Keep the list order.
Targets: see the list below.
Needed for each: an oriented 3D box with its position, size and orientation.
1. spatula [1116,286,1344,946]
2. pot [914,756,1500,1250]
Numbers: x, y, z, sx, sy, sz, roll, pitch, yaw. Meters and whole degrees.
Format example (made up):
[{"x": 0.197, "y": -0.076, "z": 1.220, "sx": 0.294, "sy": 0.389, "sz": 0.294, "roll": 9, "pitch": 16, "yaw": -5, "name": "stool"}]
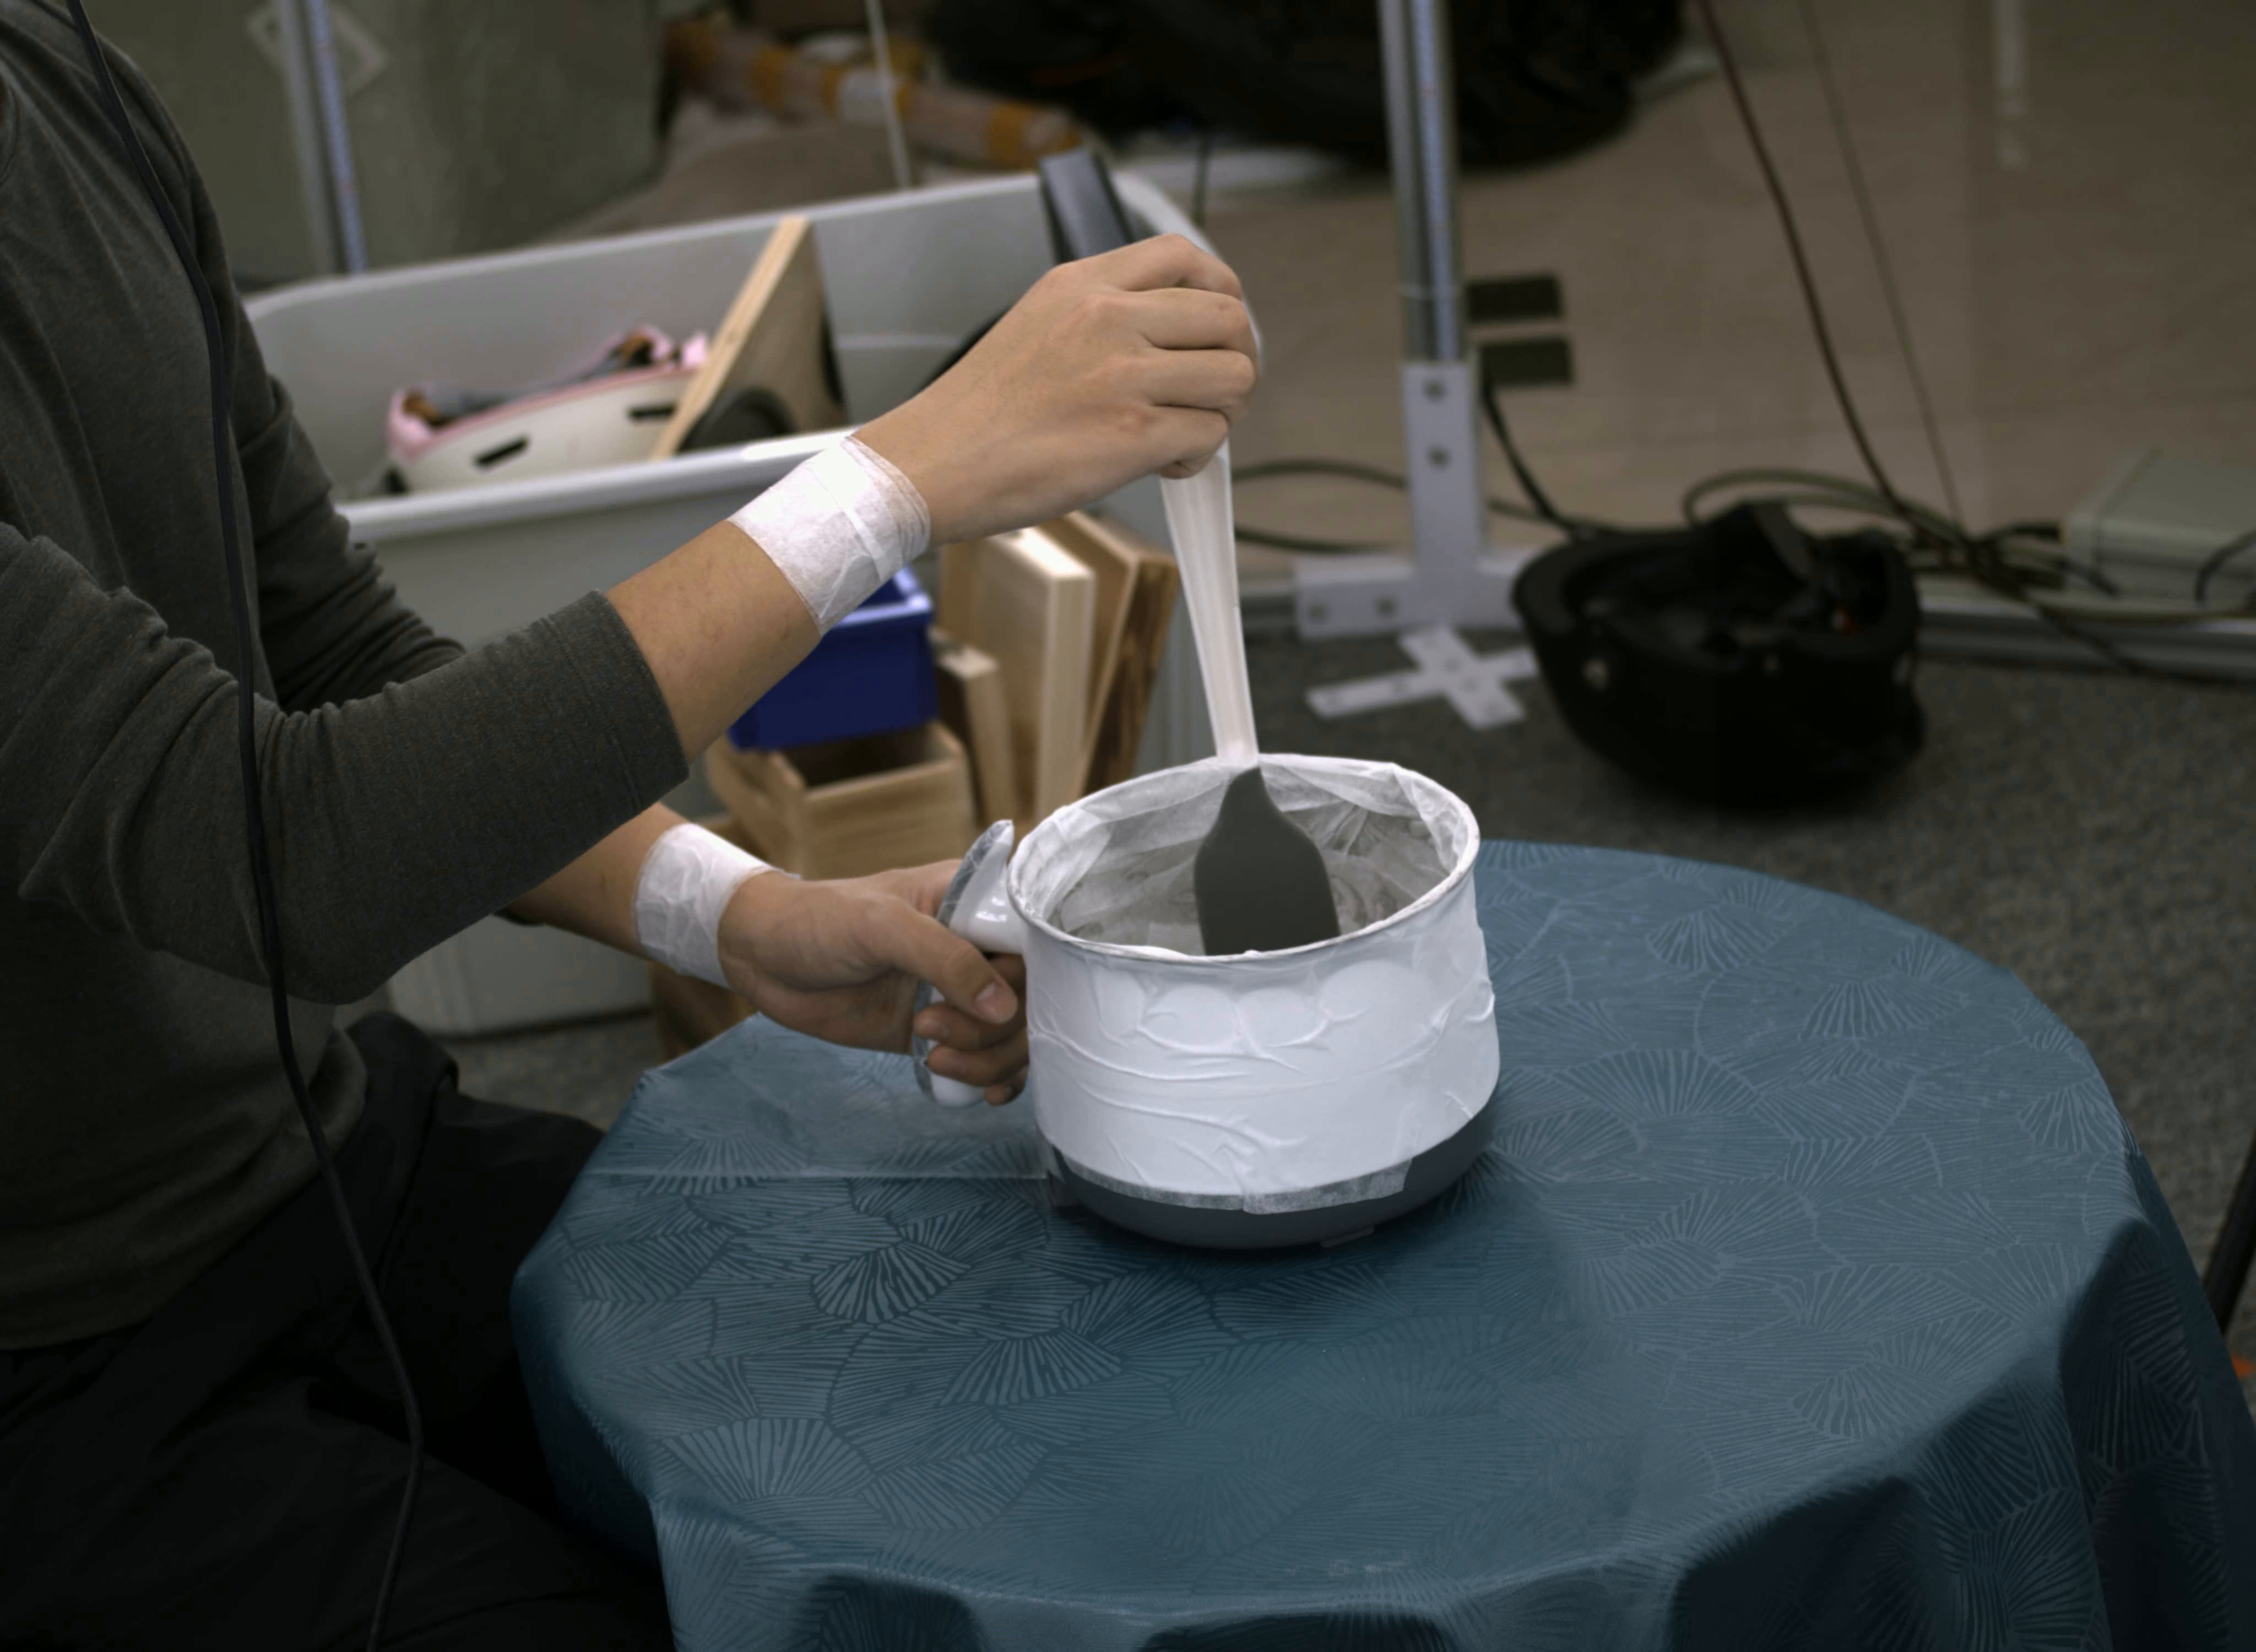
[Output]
[{"x": 0.035, "y": -0.060, "z": 2.074, "sx": 0.058, "sy": 0.292, "sz": 0.032, "roll": -9, "pitch": 29, "yaw": 3, "name": "spatula"}, {"x": 0.024, "y": 0.066, "z": 2.139, "sx": 0.233, "sy": 0.139, "sz": 0.176, "roll": 4, "pitch": 27, "yaw": 22, "name": "pot"}]
